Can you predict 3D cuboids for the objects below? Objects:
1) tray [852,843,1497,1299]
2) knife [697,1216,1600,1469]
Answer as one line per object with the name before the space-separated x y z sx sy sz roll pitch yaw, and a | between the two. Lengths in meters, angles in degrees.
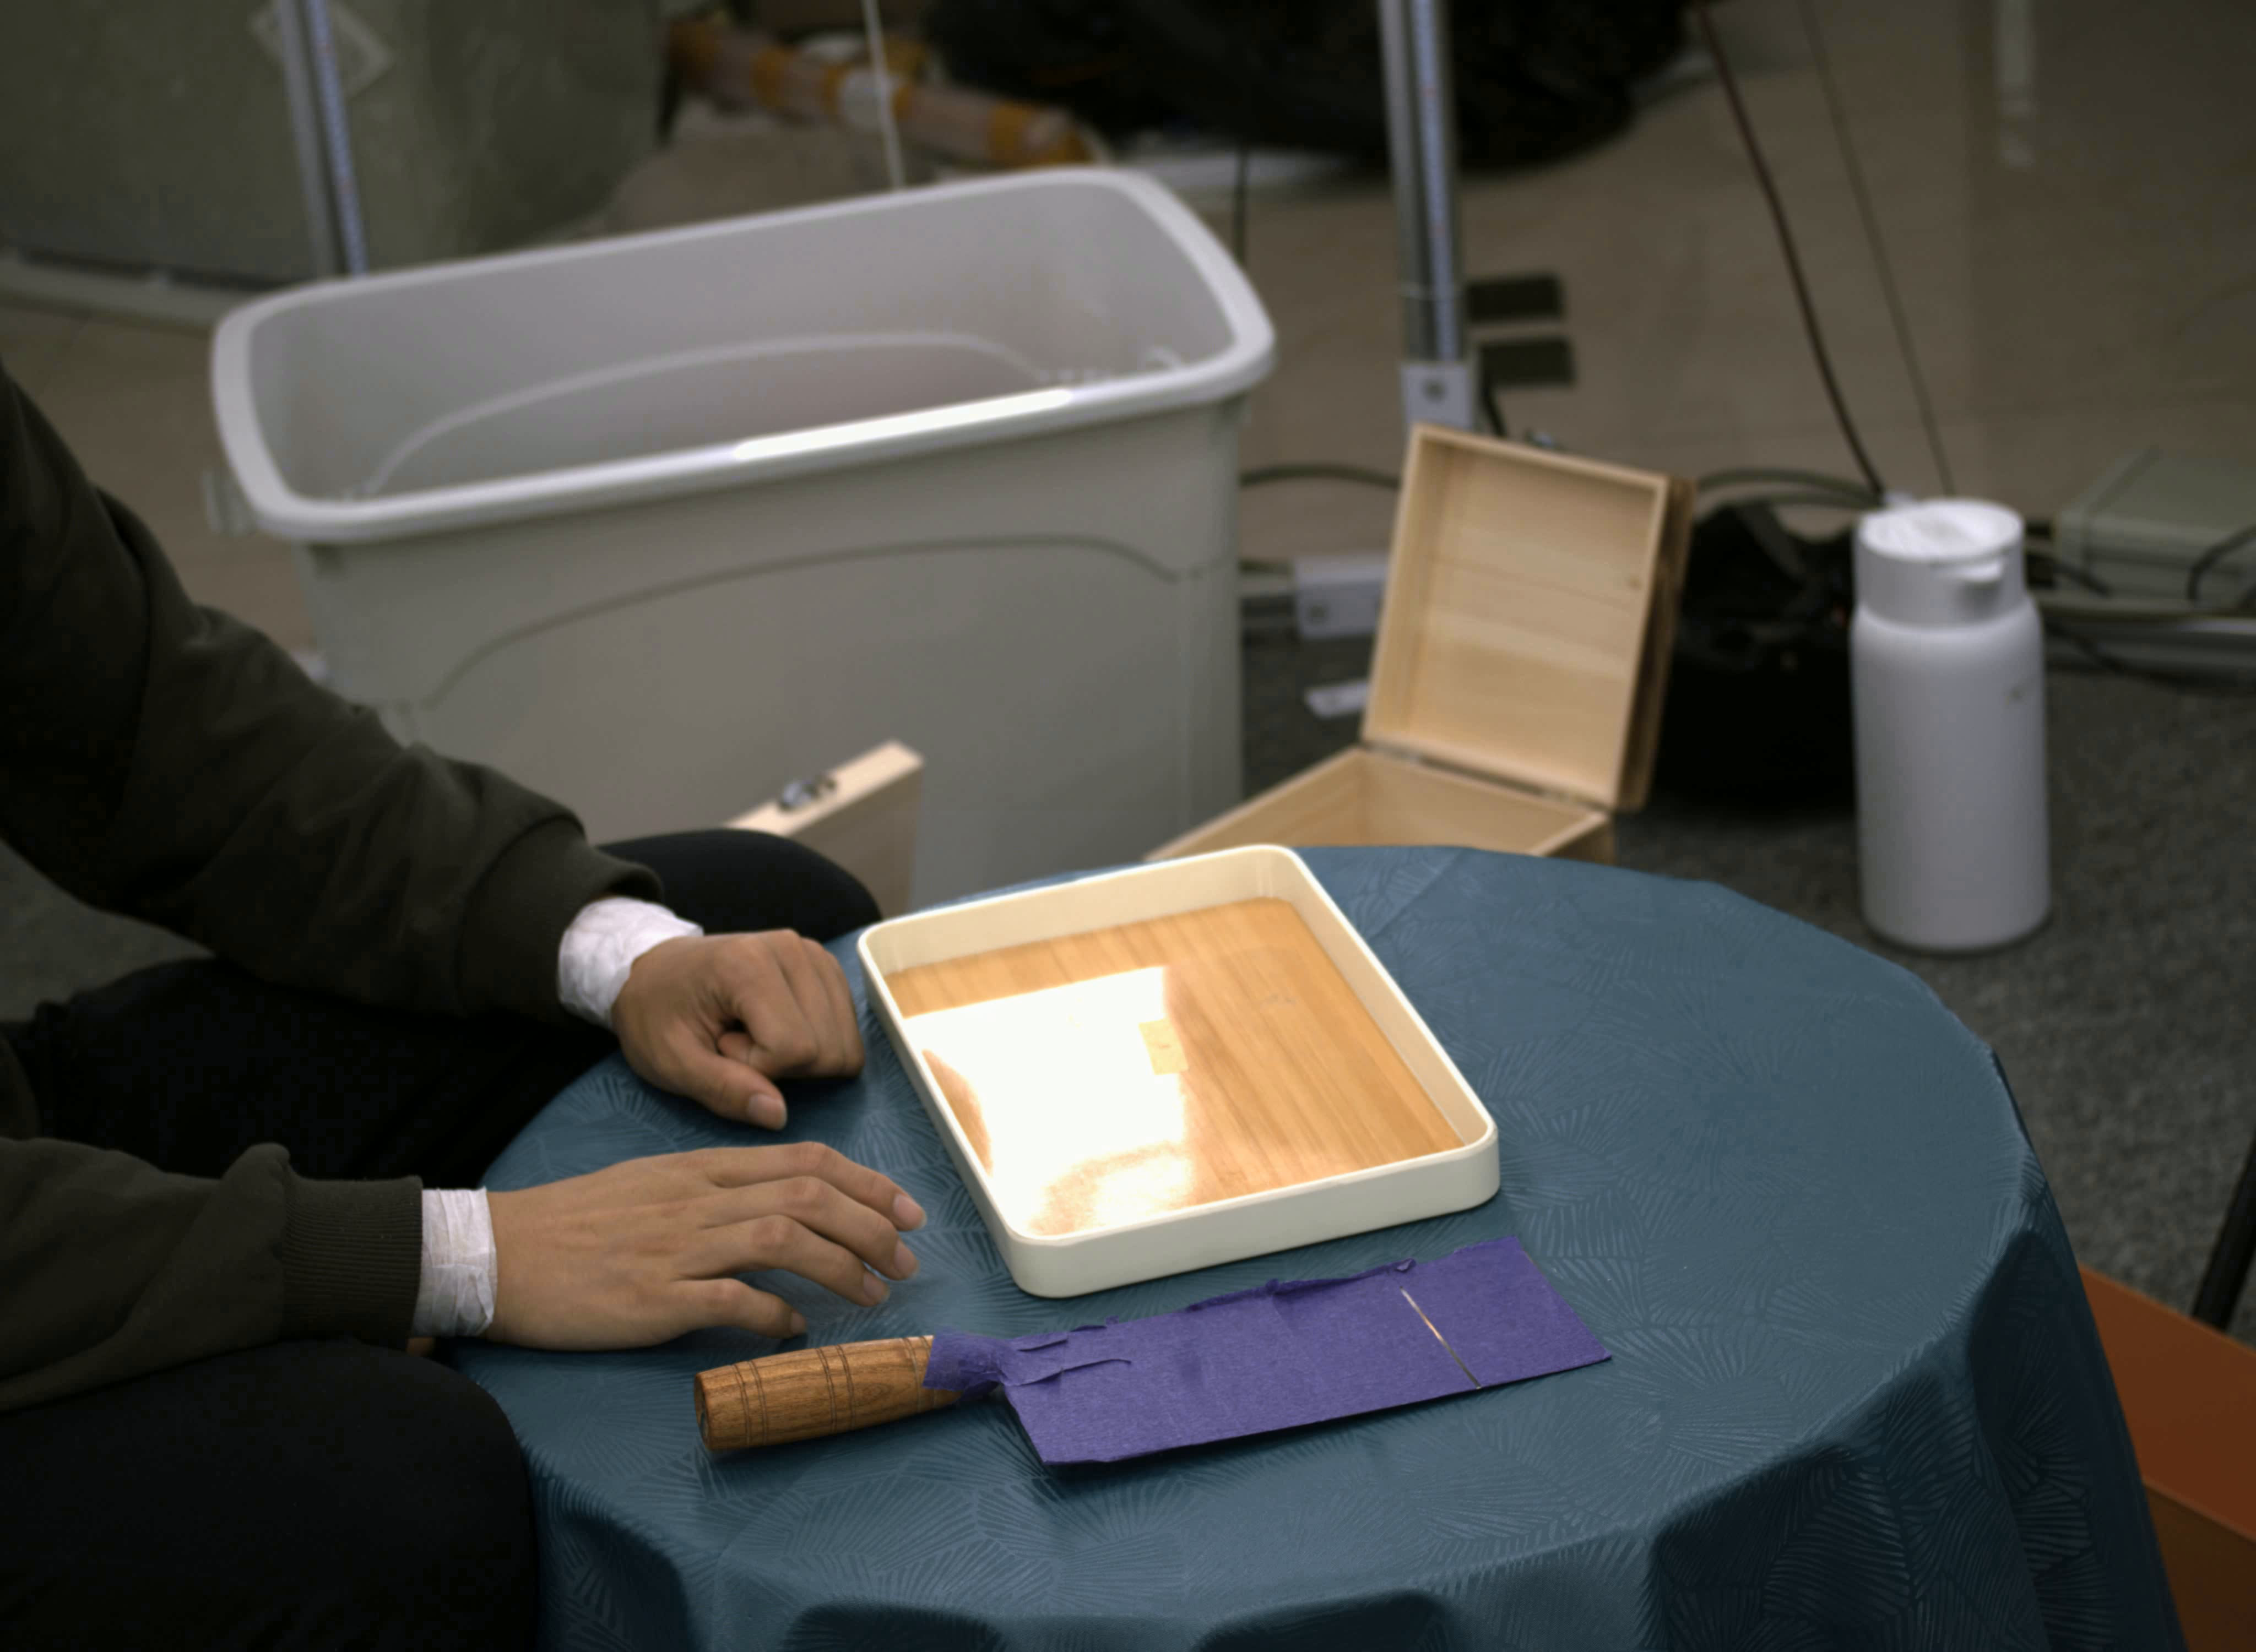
tray | 0.013 0.091 2.219 0.191 0.028 0.296 -12 25 -11
knife | 0.009 0.191 2.005 0.314 0.033 0.102 -12 25 -13
